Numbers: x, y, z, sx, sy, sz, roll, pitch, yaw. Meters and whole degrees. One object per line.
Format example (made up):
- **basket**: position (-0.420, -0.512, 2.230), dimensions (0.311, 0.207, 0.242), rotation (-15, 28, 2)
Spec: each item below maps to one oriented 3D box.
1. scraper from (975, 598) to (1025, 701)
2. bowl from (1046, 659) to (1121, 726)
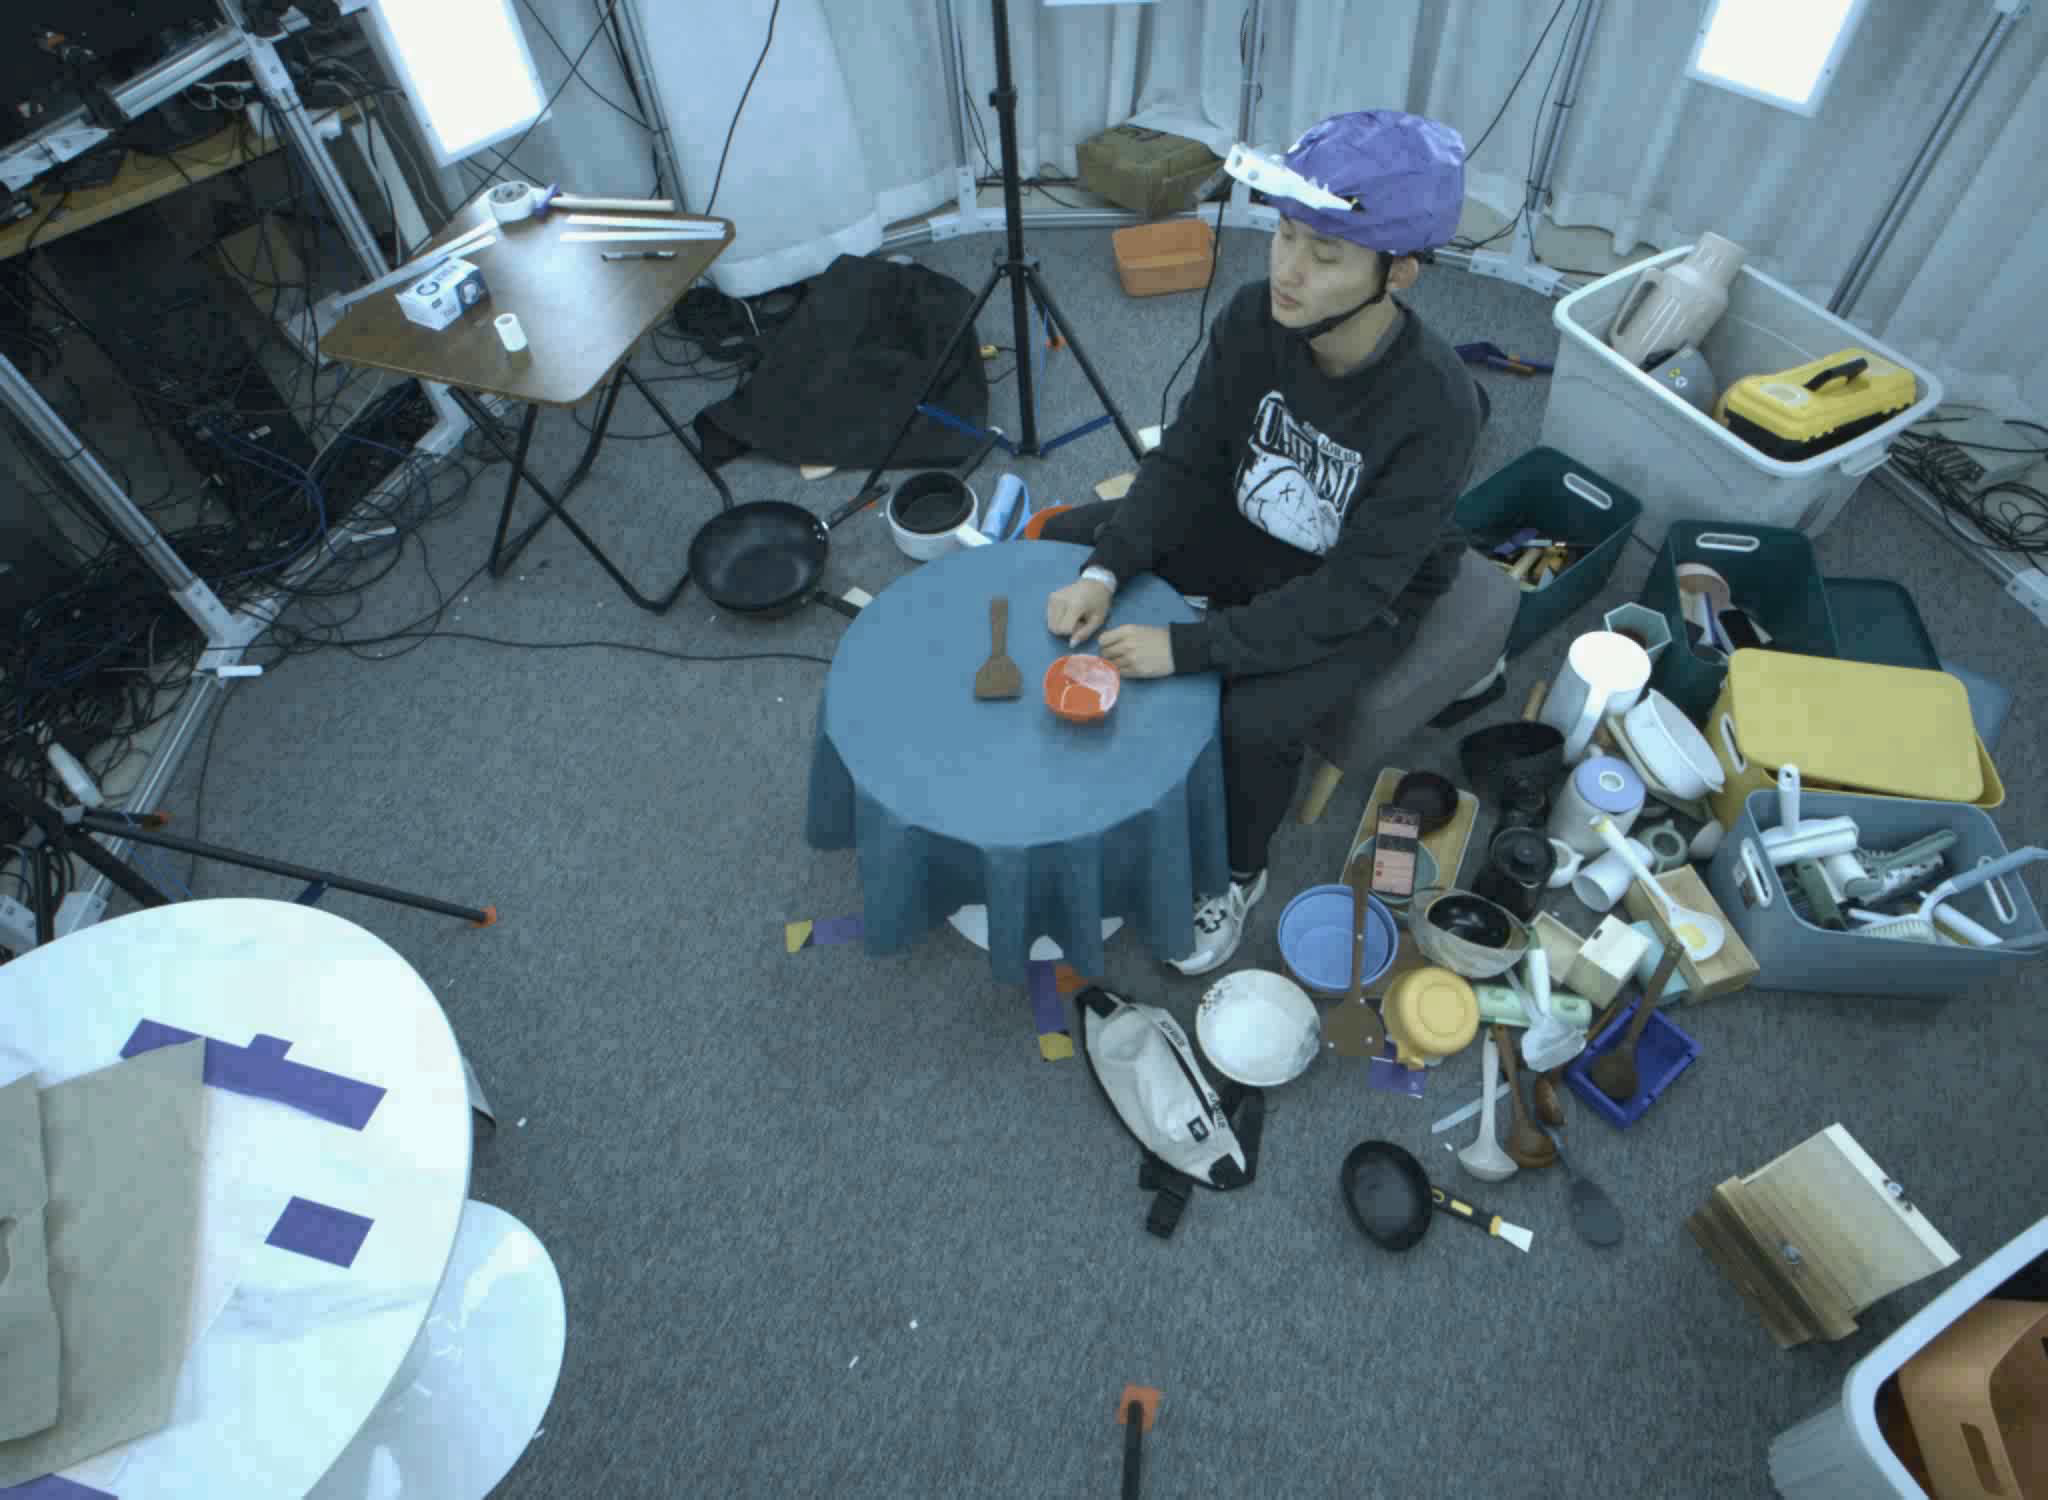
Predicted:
- **scraper**: position (-0.037, -0.157, 1.905), dimensions (0.076, 0.011, 0.209), rotation (-1, 54, 0)
- **bowl**: position (0.089, -0.078, 1.820), dimensions (0.119, 0.052, 0.118), rotation (-1, 55, 3)
